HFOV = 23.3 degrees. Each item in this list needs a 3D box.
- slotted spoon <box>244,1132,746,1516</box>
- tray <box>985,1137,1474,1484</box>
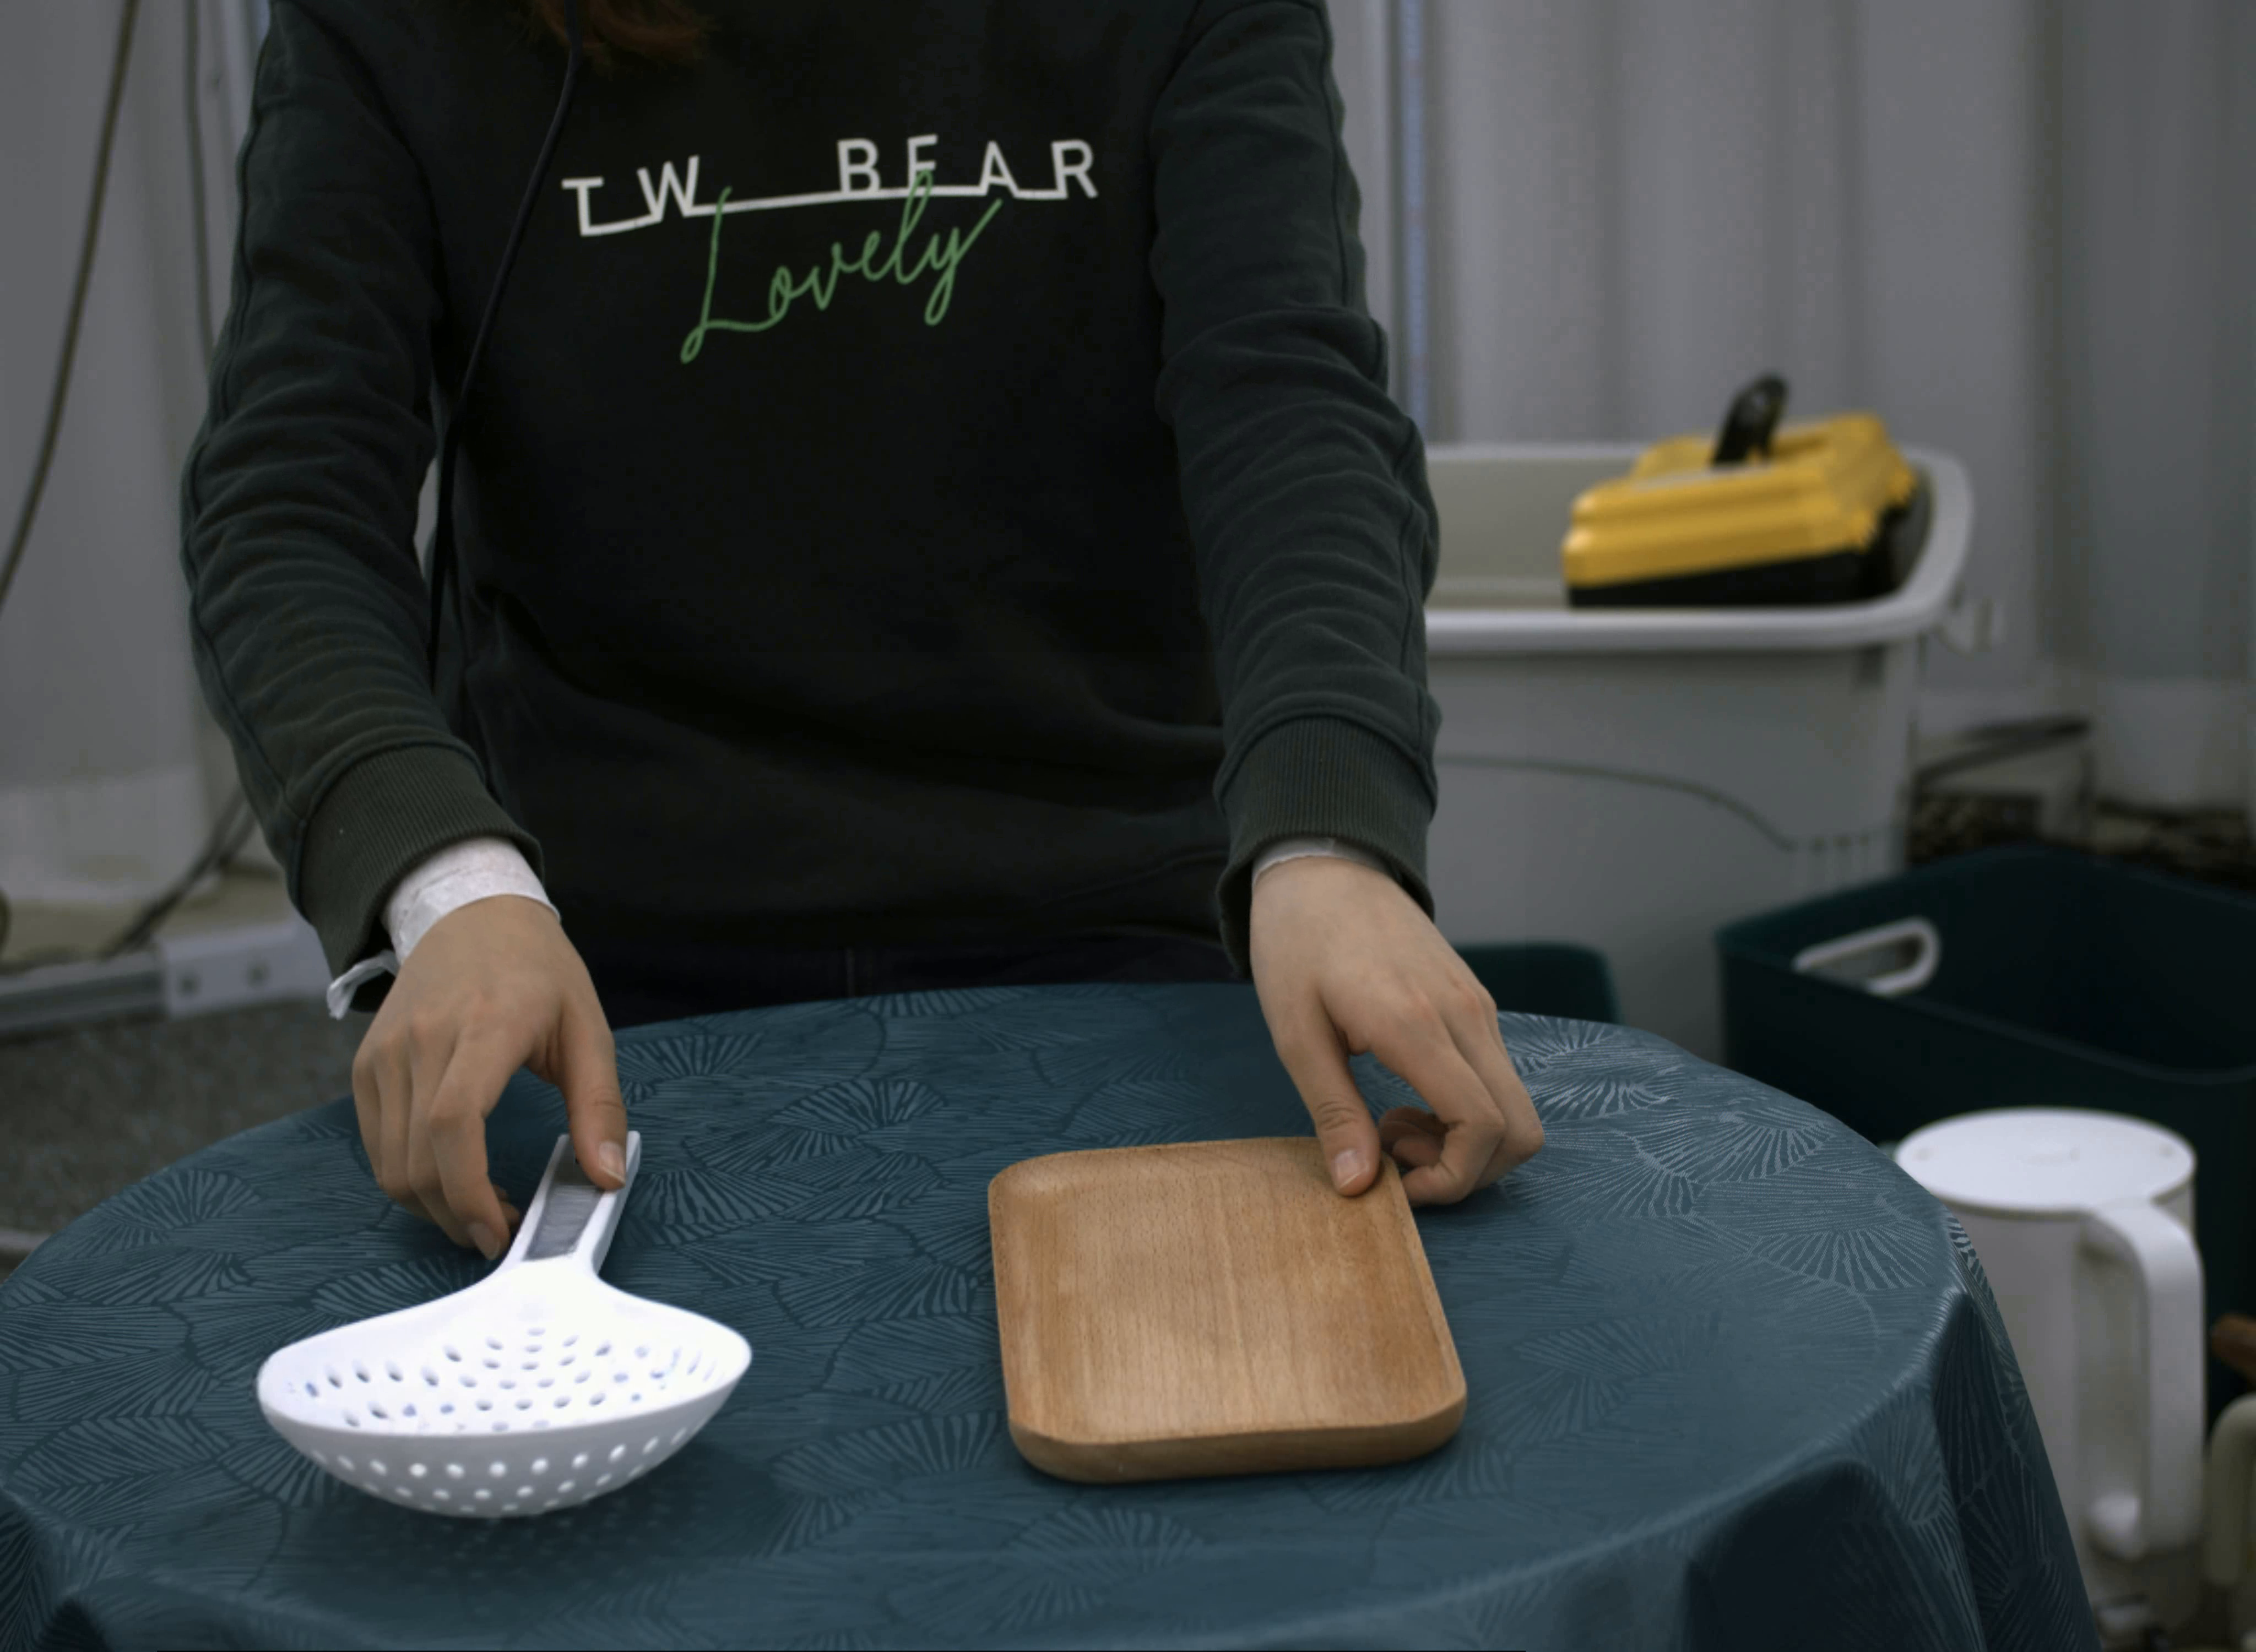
[{"bbox_3d":[-0.170,0.135,1.584,0.135,0.045,0.352,-1,14,1],"label":"slotted spoon"},{"bbox_3d":[0.025,0.138,1.591,0.130,0.023,0.252,-2,14,-2],"label":"tray"}]
